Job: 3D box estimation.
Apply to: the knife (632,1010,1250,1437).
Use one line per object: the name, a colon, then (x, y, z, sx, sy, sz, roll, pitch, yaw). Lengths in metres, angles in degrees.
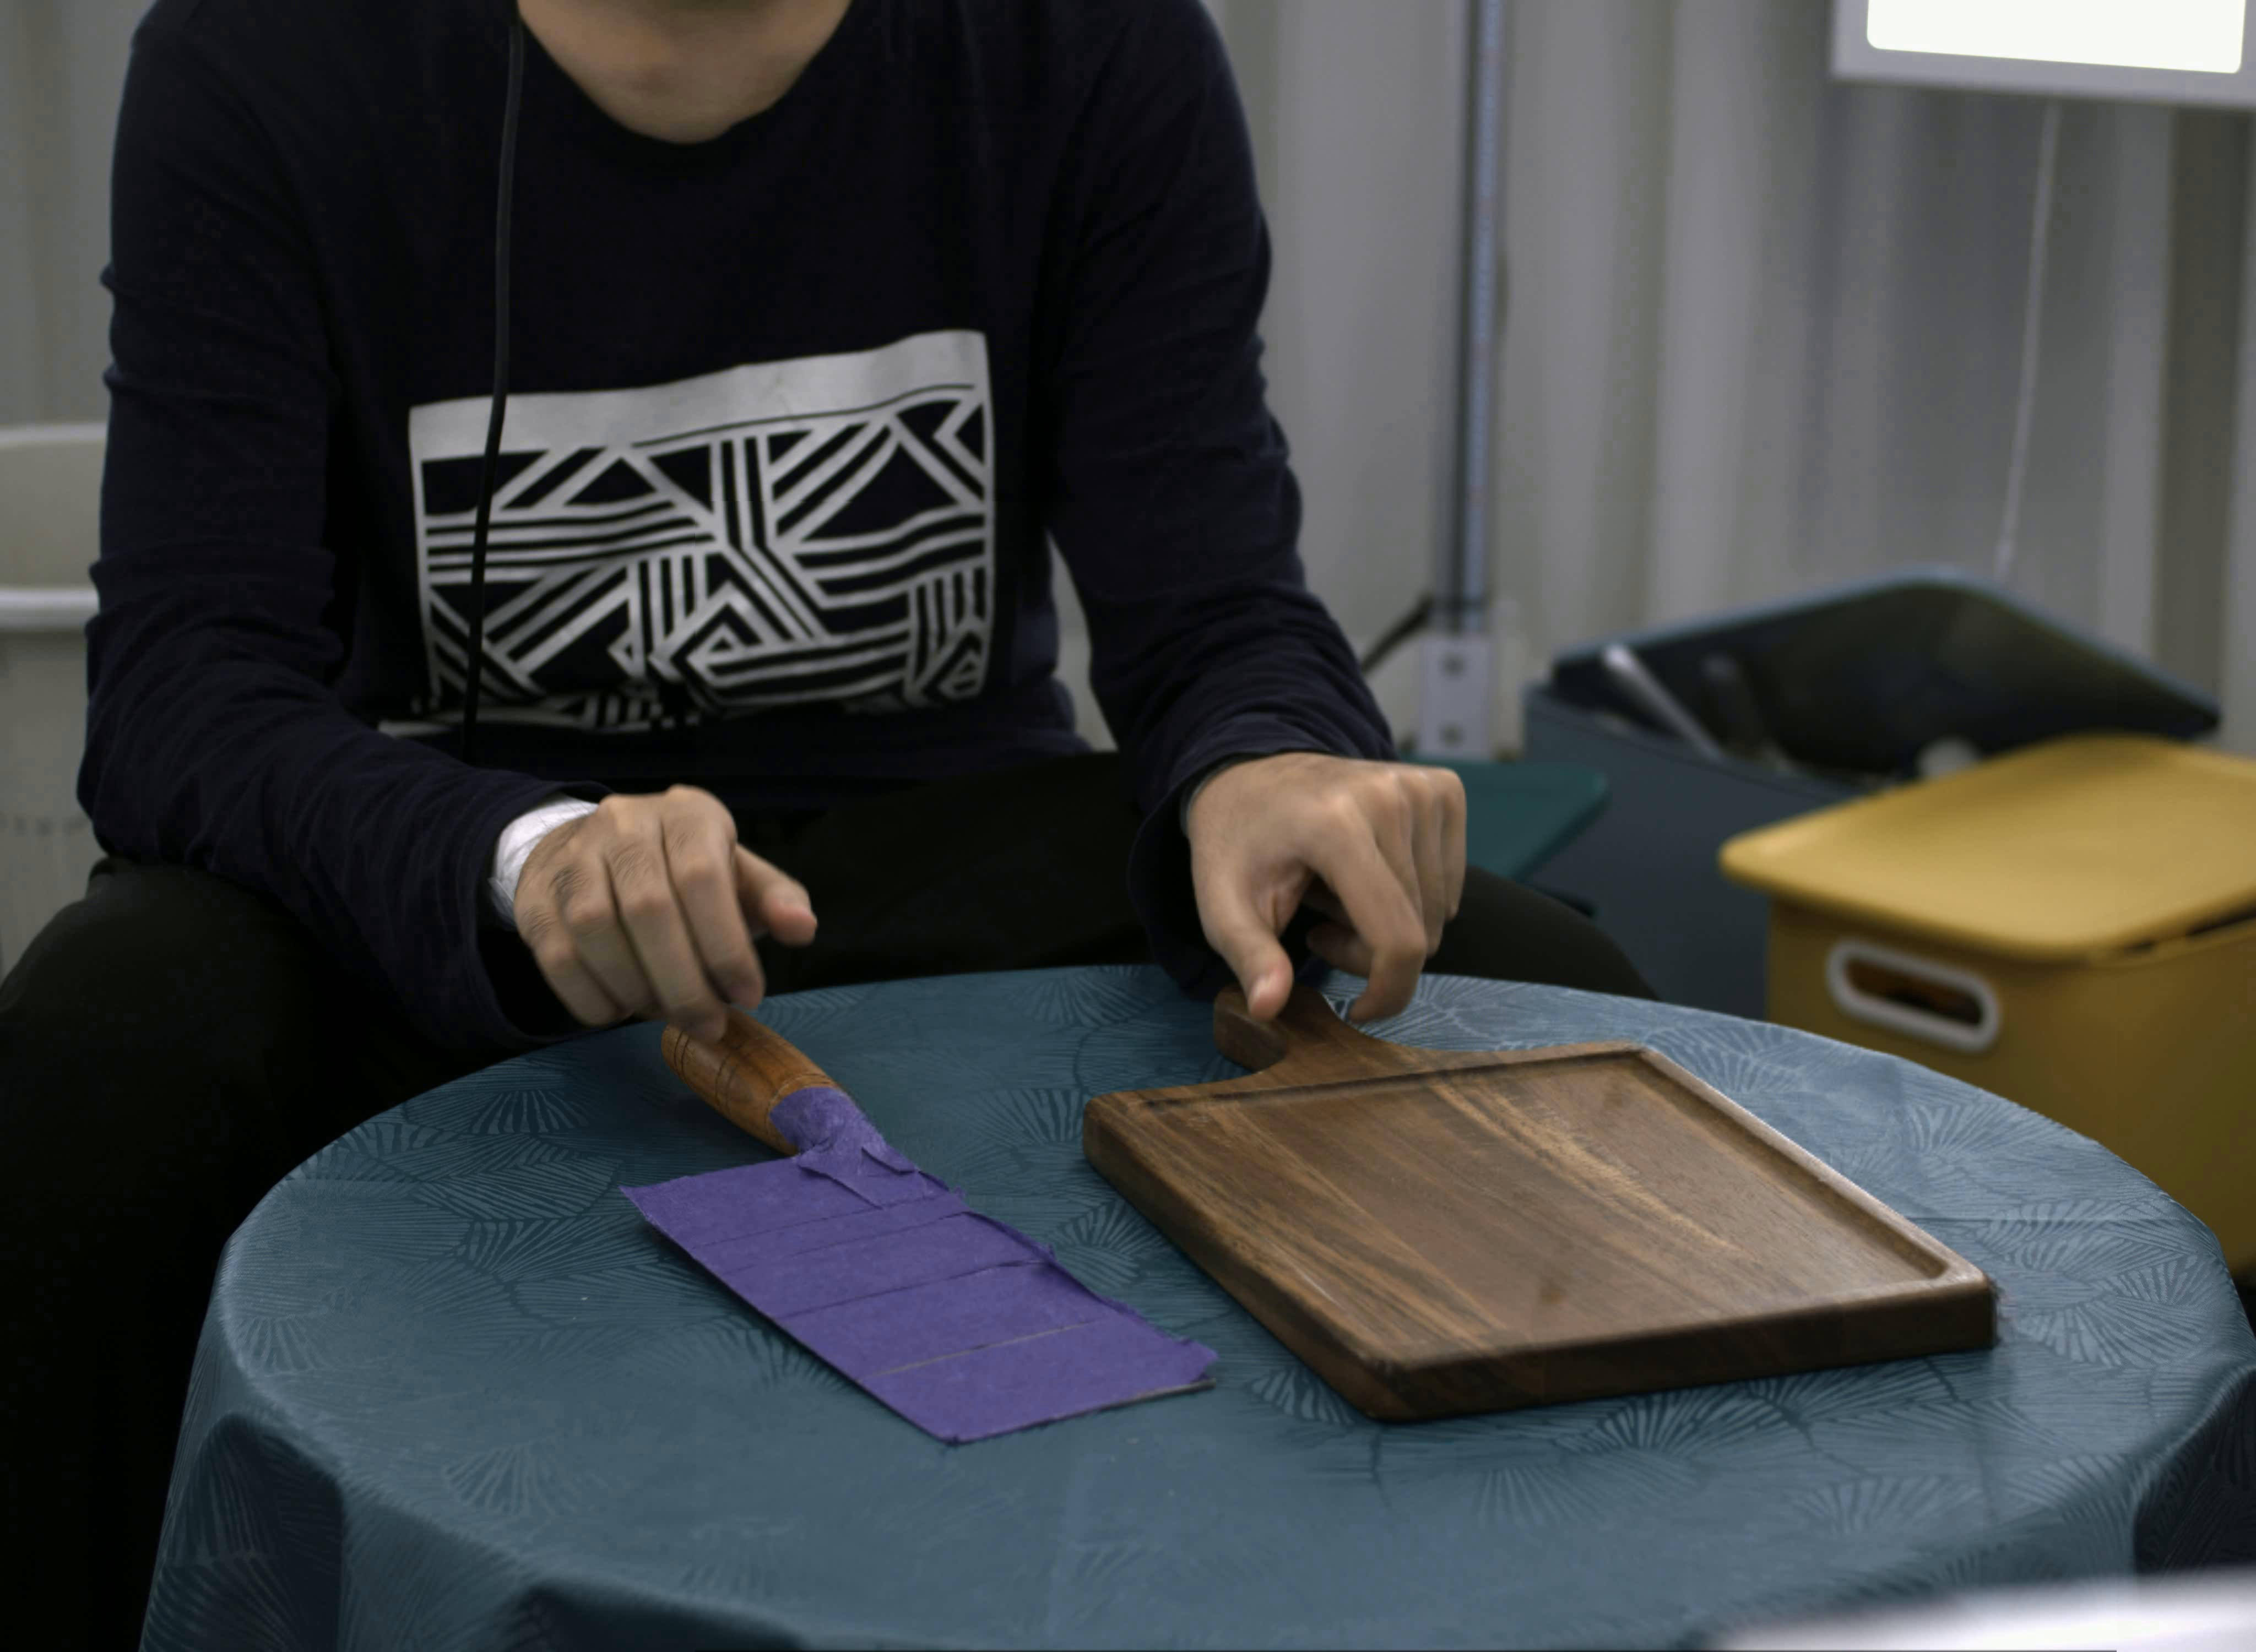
knife: (-0.088, 0.114, 1.565, 0.104, 0.032, 0.311, -8, 18, -30)

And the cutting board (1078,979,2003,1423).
cutting board: (0.101, 0.104, 1.621, 0.201, 0.023, 0.348, -5, 16, -19)
